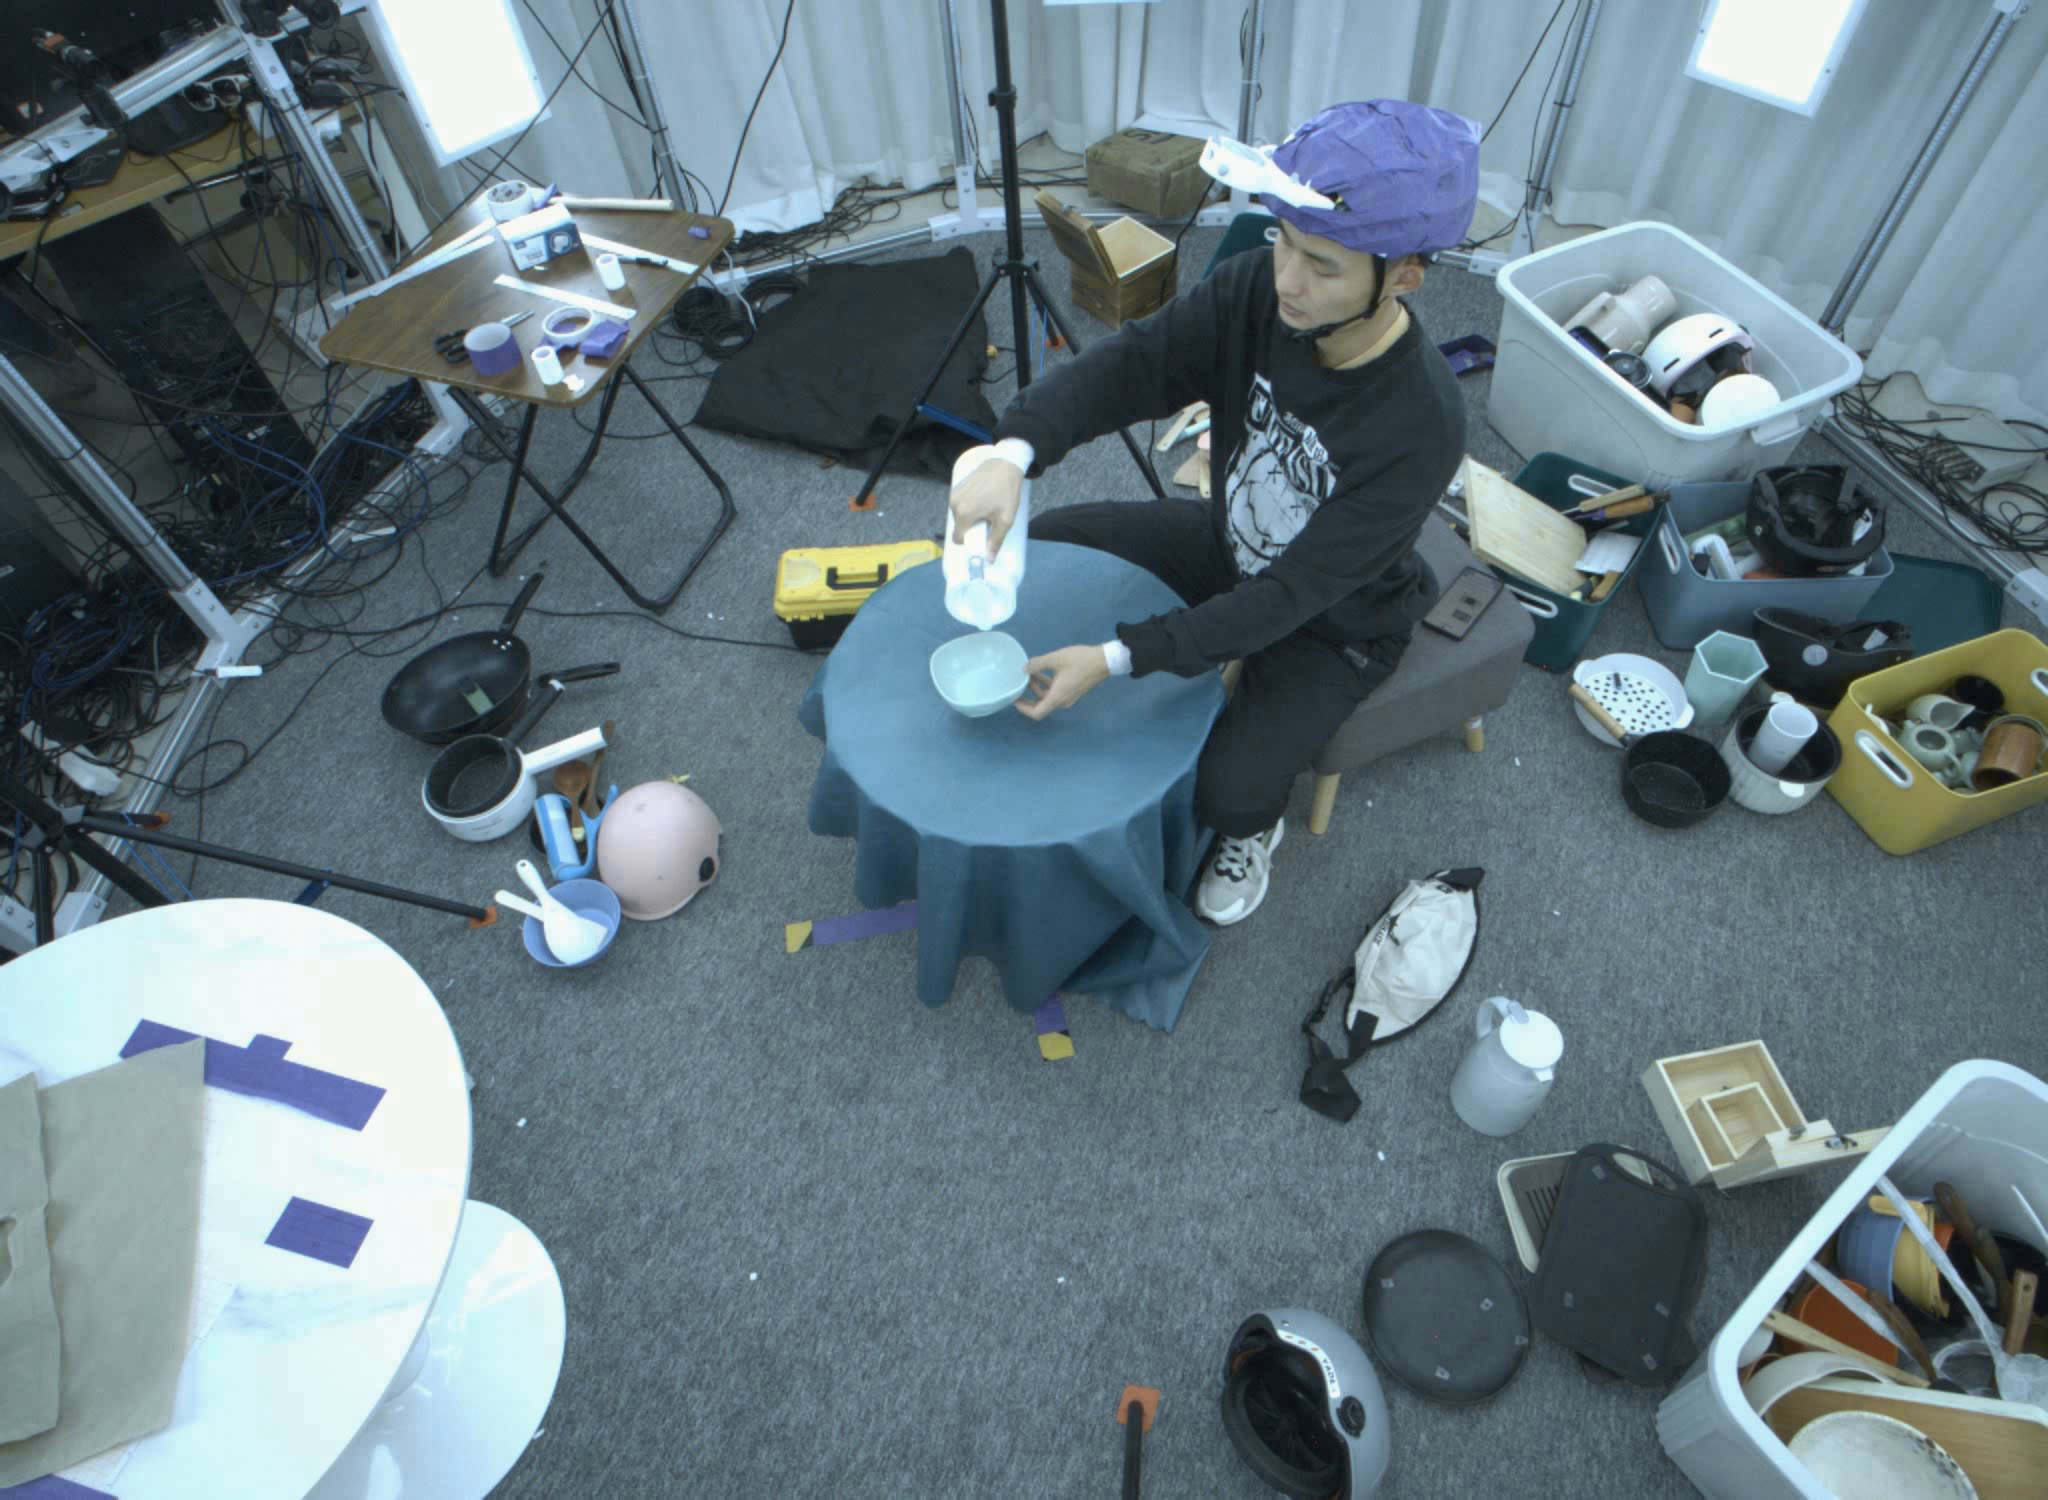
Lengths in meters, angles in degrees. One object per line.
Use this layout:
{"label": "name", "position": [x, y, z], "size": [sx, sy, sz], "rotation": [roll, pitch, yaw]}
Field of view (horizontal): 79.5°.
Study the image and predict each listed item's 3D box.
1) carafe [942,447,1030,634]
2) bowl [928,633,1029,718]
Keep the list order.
{"label": "carafe", "position": [-0.059, -0.319, 1.742], "size": [0.123, 0.175, 0.266], "rotation": [0, 55, 7]}
{"label": "bowl", "position": [-0.066, -0.099, 1.779], "size": [0.151, 0.059, 0.150], "rotation": [1, 49, 0]}
